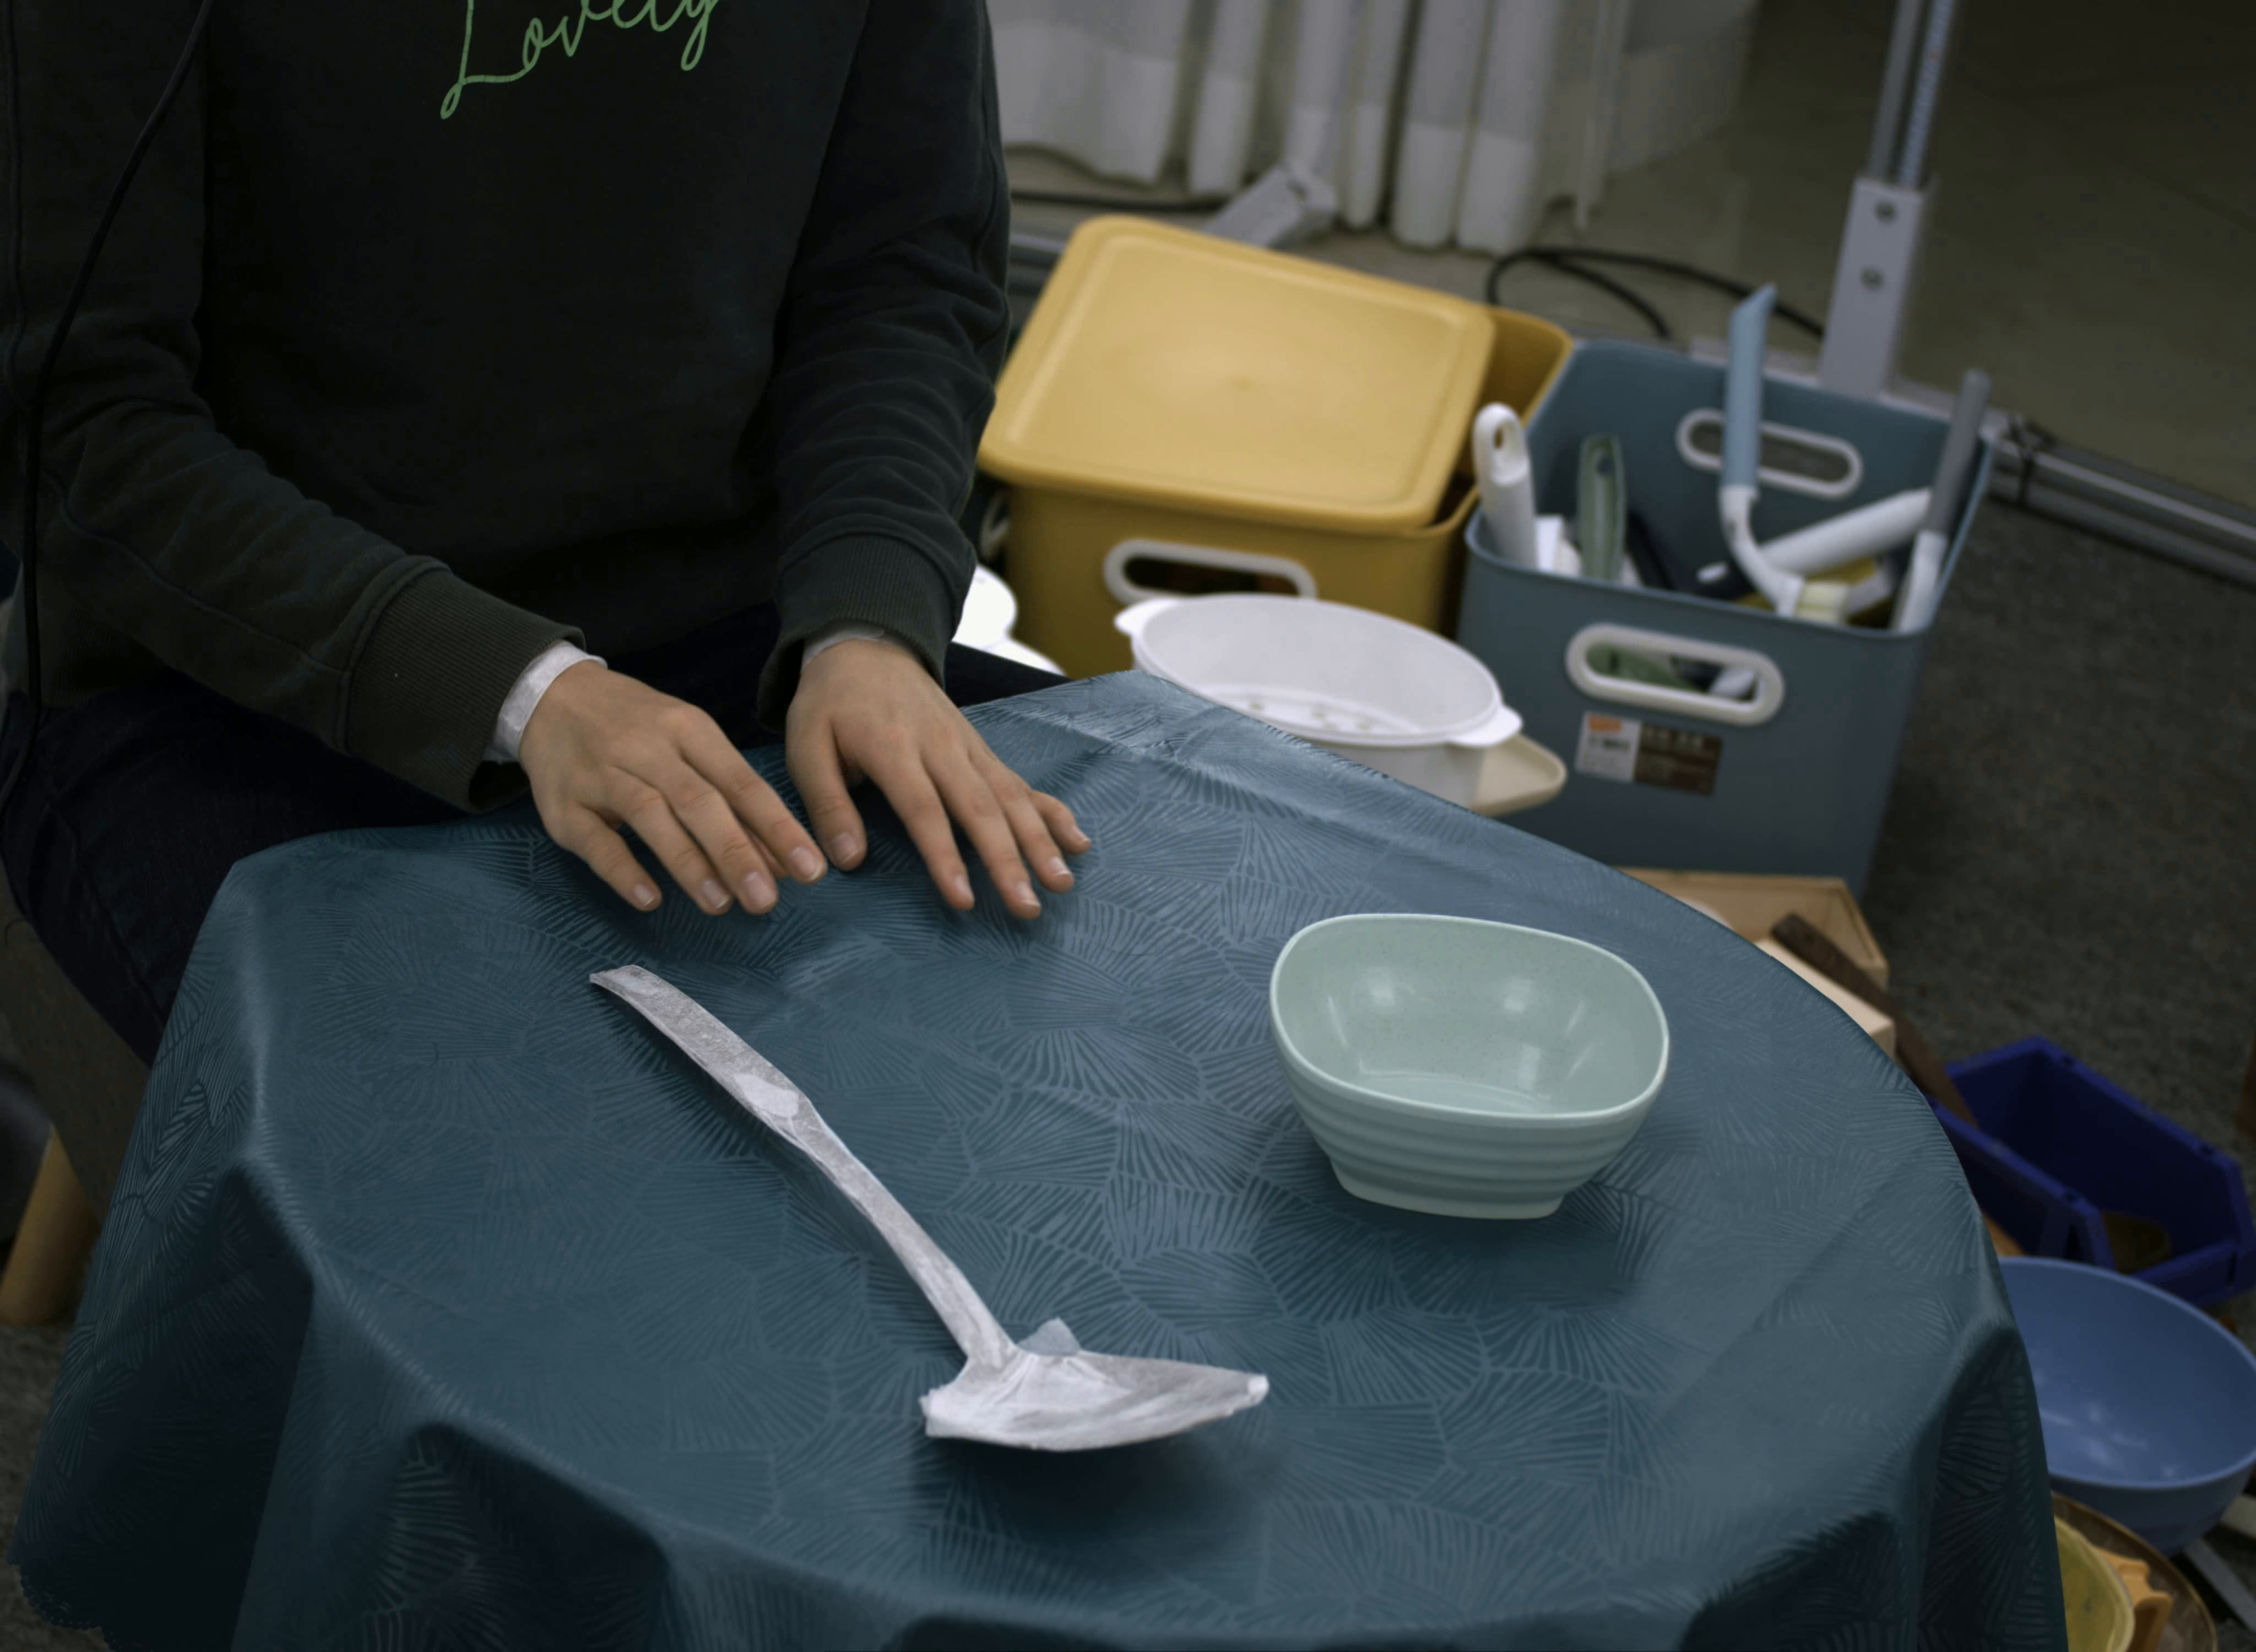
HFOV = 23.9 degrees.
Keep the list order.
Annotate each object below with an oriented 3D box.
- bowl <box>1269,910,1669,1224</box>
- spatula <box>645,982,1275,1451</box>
[{"bbox_3d":[0.113,0.089,1.833,0.151,0.058,0.152,7,28,-4],"label":"bowl"},{"bbox_3d":[-0.079,0.120,1.747,0.098,0.044,0.368,-11,32,-28],"label":"spatula"}]
